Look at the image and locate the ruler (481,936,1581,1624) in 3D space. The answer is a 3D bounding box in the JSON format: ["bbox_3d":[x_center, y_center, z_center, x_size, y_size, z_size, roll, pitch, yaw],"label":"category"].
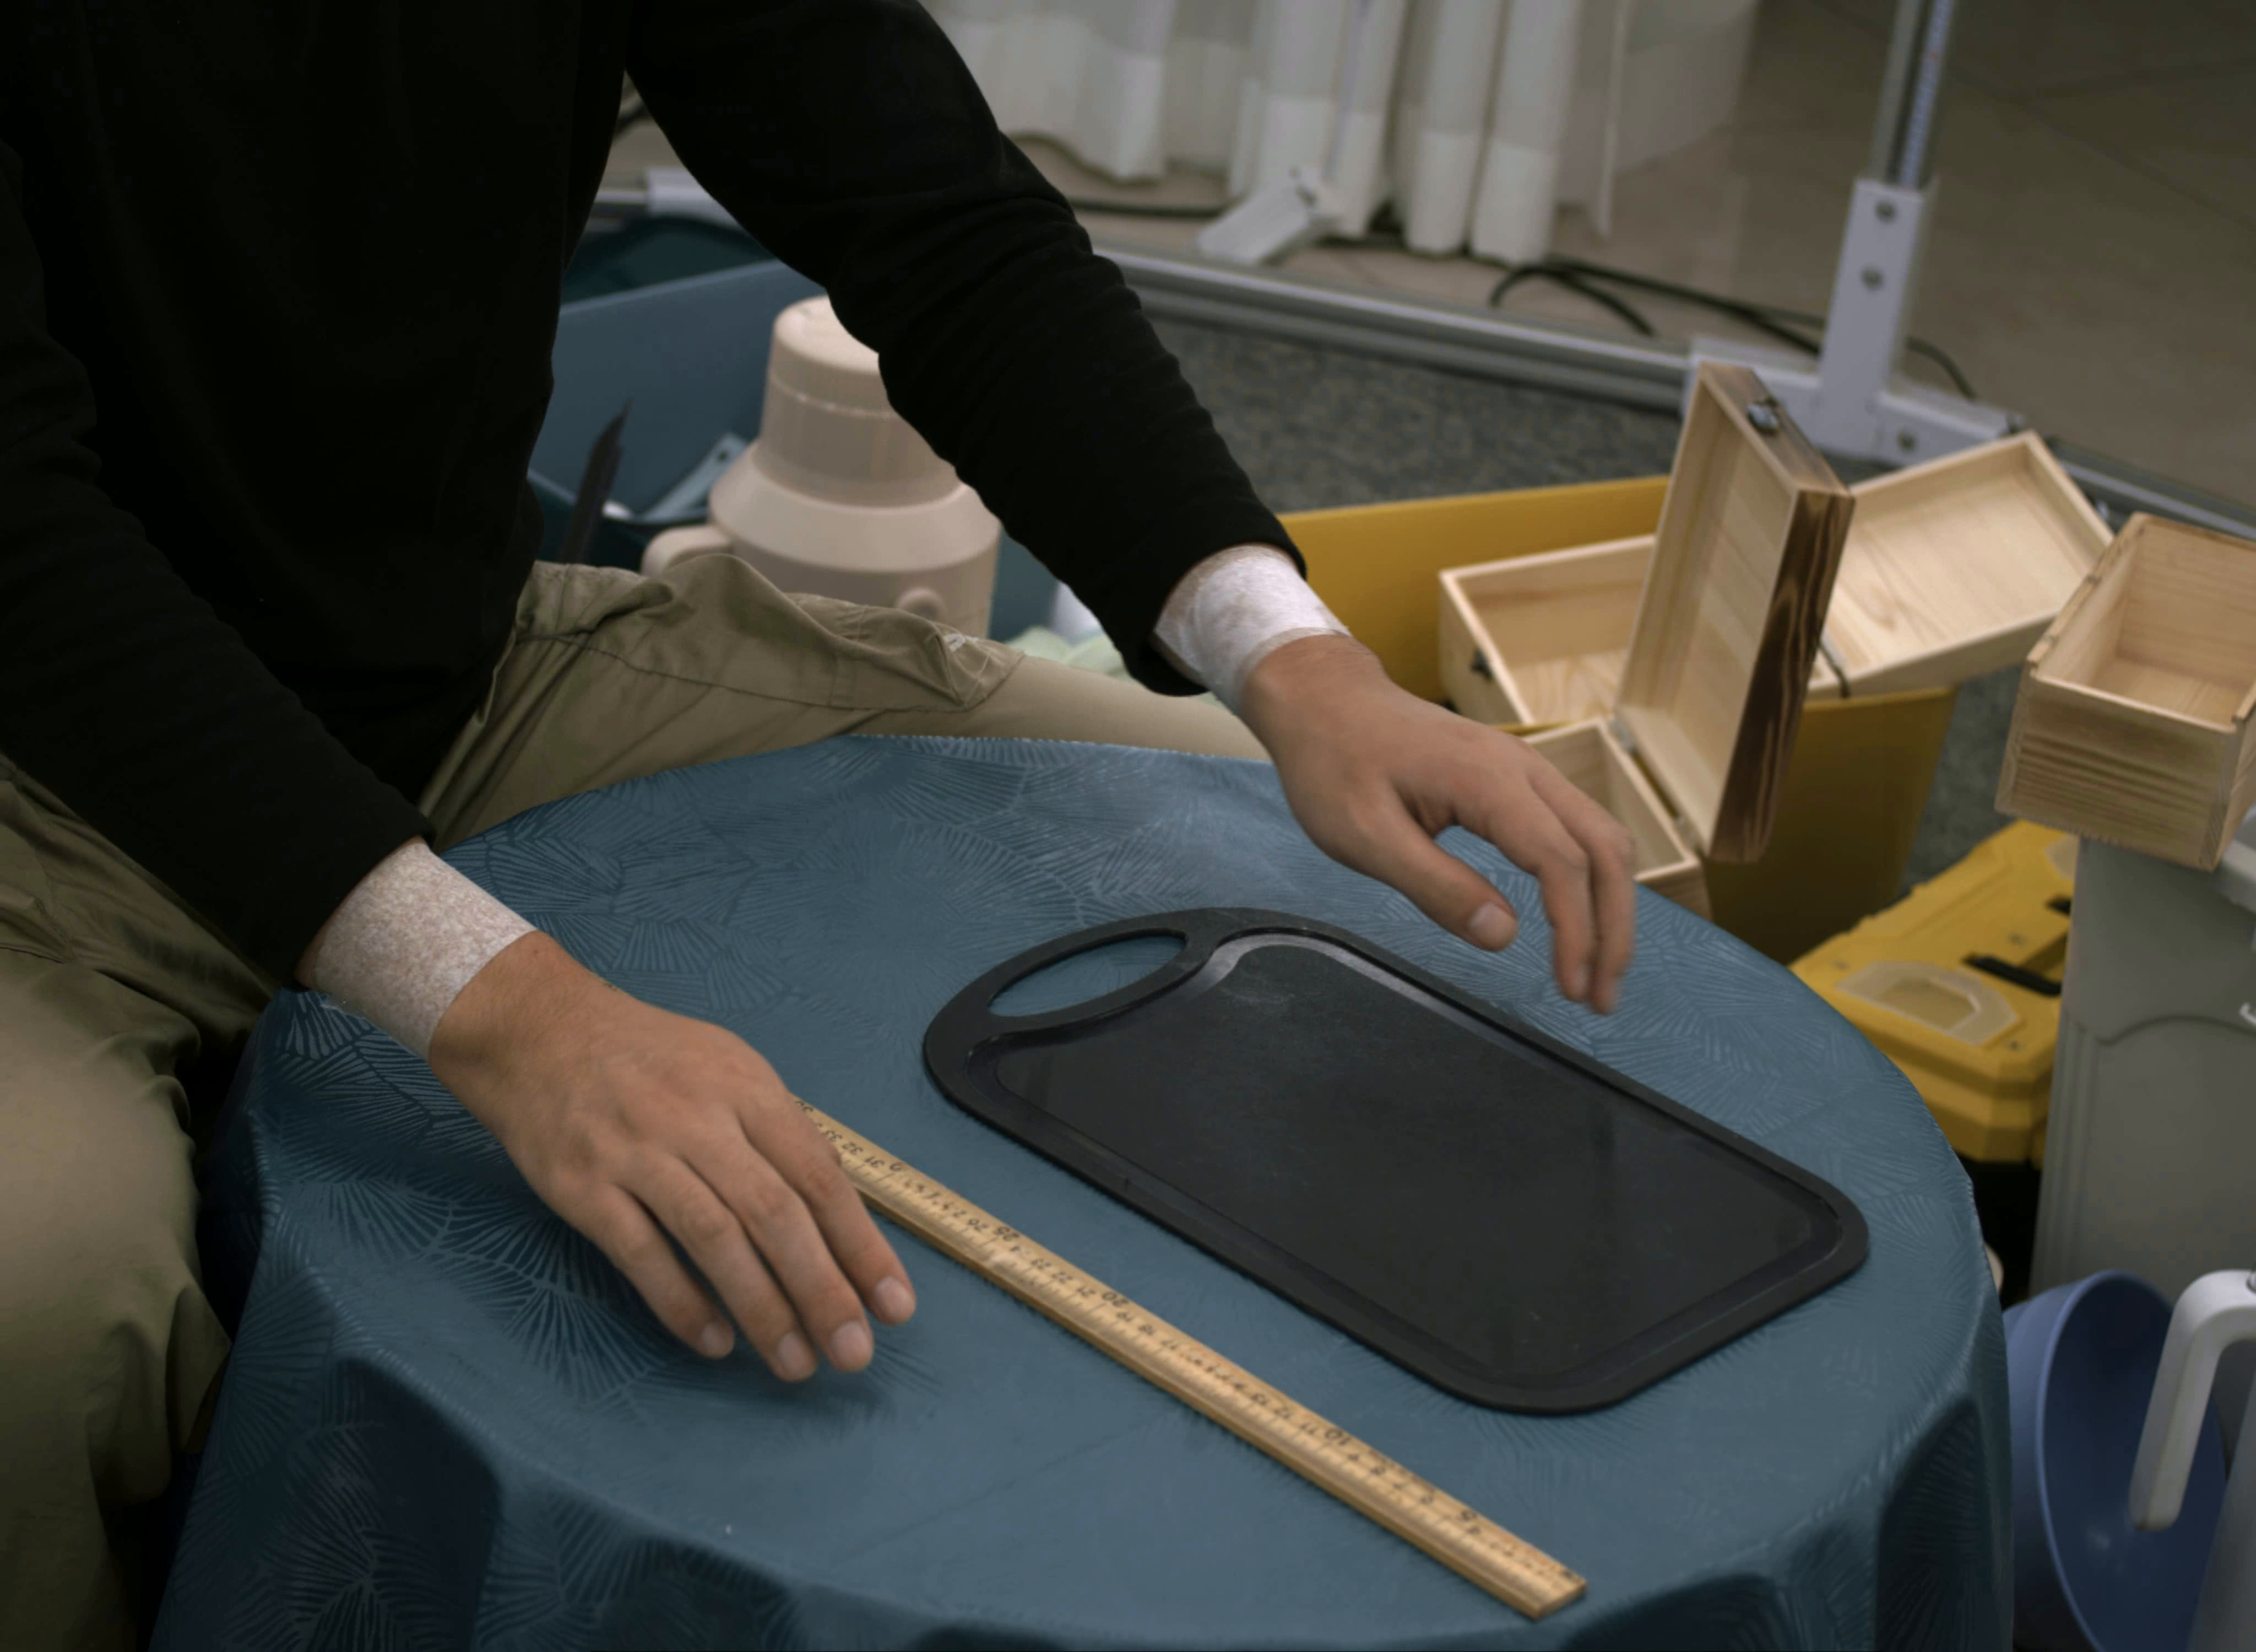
[{"bbox_3d":[-0.046,0.139,1.755,0.504,0.006,0.026,29,32,37],"label":"ruler"}]

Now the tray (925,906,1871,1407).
[{"bbox_3d":[0.085,0.105,1.849,0.328,0.010,0.210,28,34,36],"label":"tray"}]
